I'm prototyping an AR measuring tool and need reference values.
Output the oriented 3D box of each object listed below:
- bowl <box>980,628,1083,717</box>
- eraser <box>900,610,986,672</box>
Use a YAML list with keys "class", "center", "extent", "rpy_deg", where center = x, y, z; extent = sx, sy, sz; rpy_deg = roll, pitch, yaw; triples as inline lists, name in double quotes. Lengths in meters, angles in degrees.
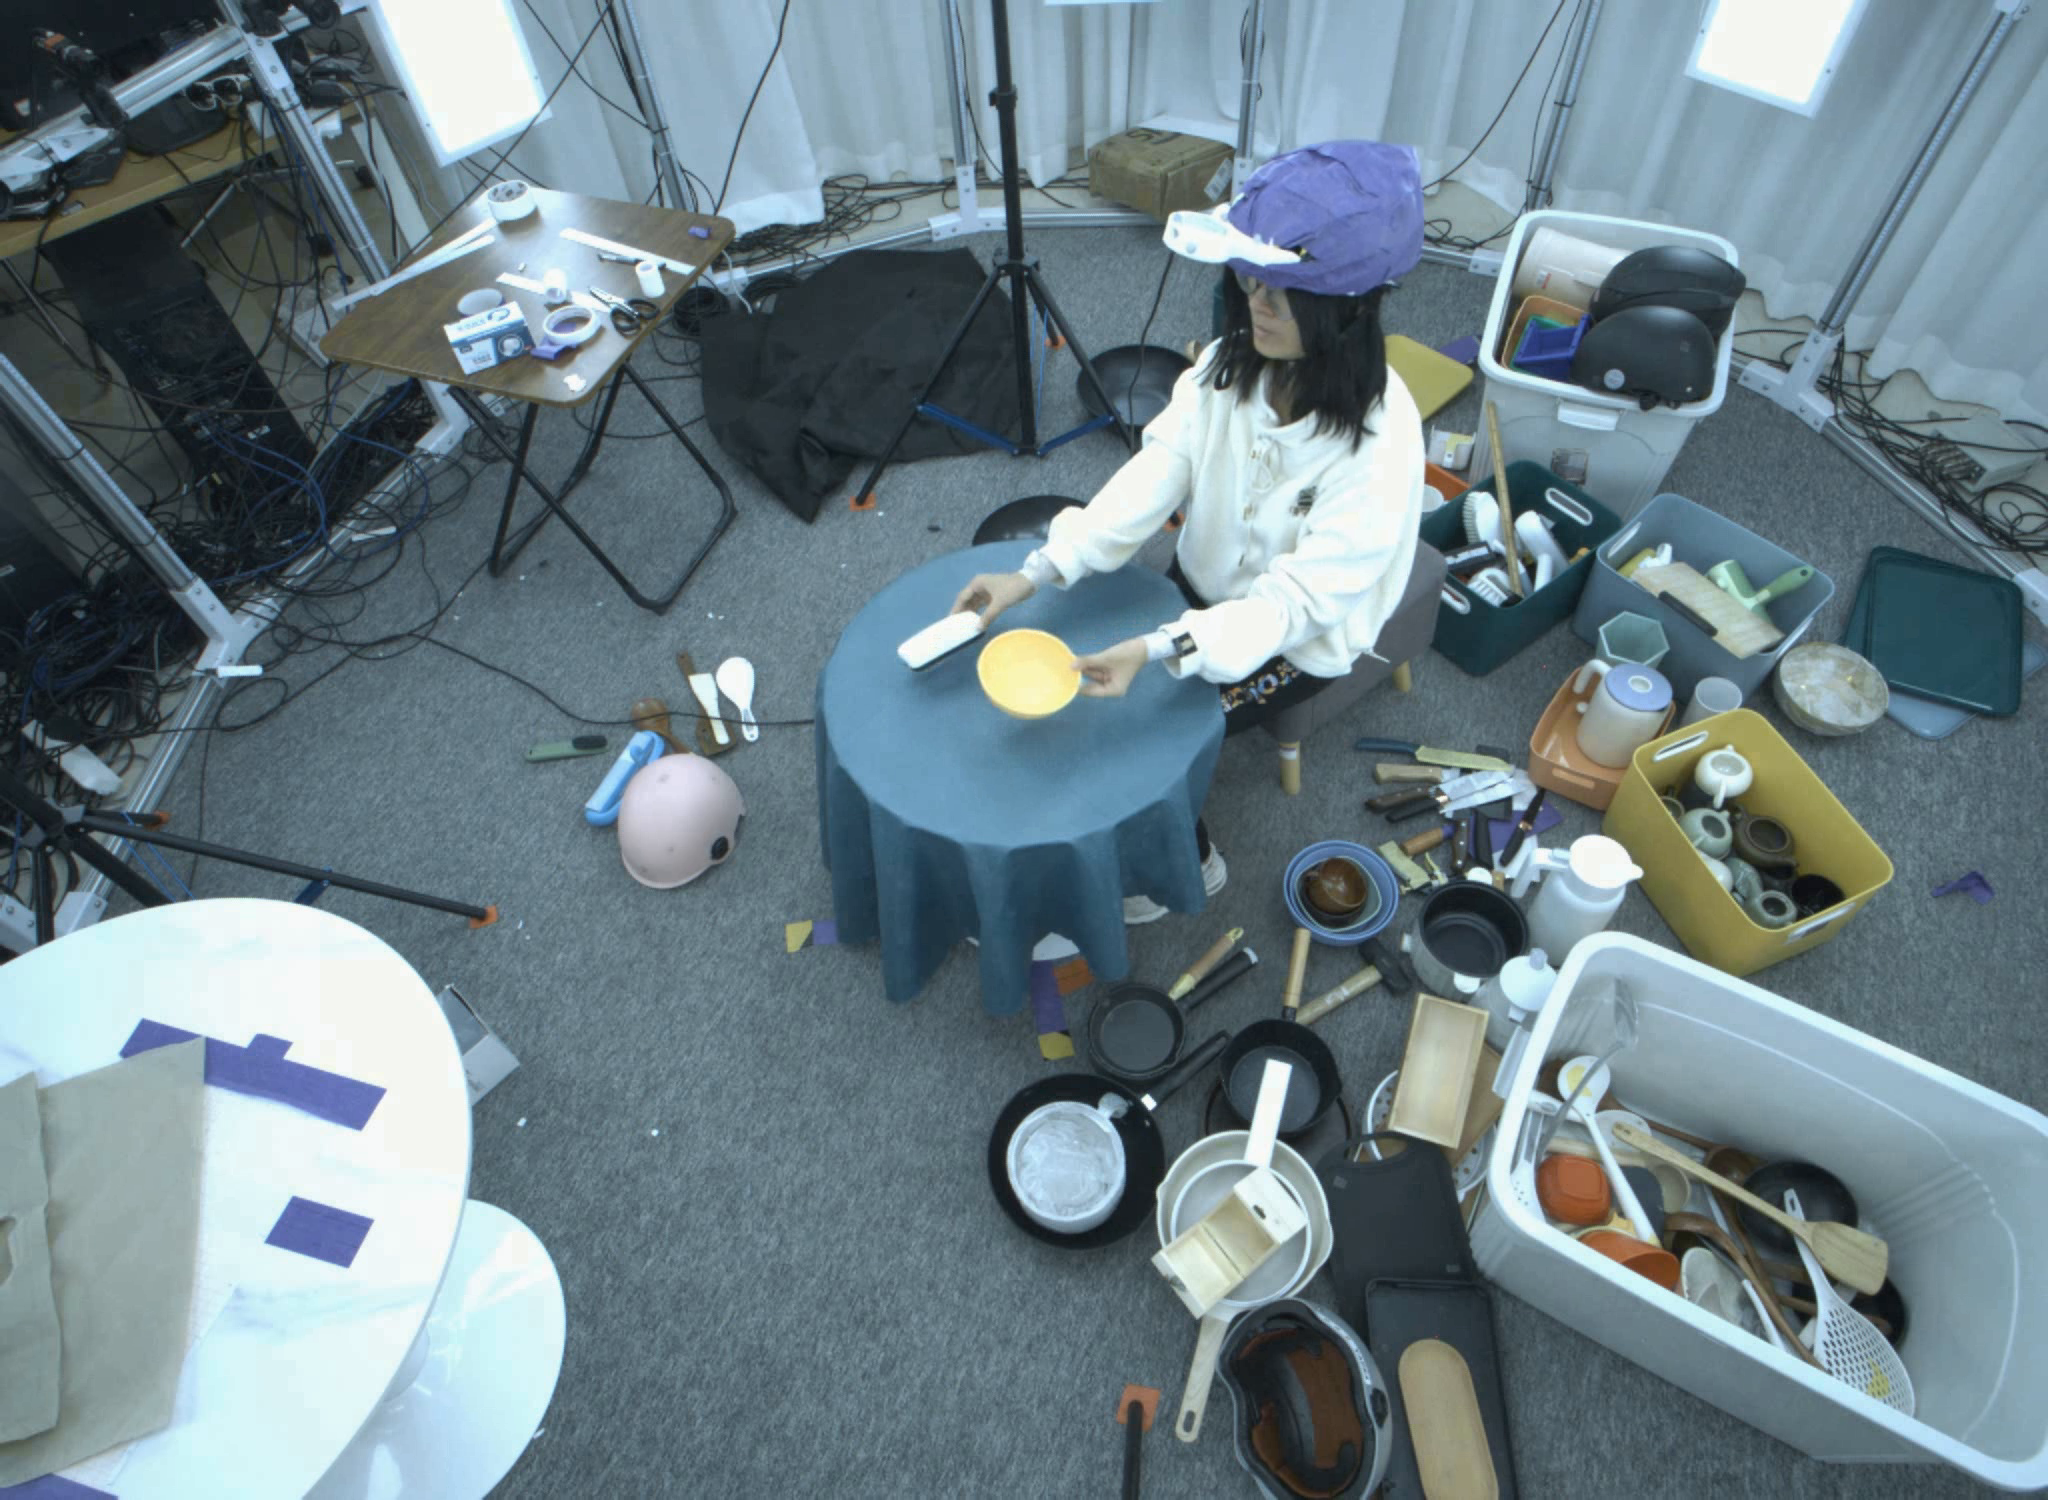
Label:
- class: "bowl"
  center: [0.008, -0.098, 1.741]
  extent: [0.146, 0.060, 0.144]
  rpy_deg: [5, 59, -6]
- class: "eraser"
  center: [-0.121, -0.165, 1.833]
  extent: [0.132, 0.035, 0.062]
  rpy_deg: [-30, 33, -12]
